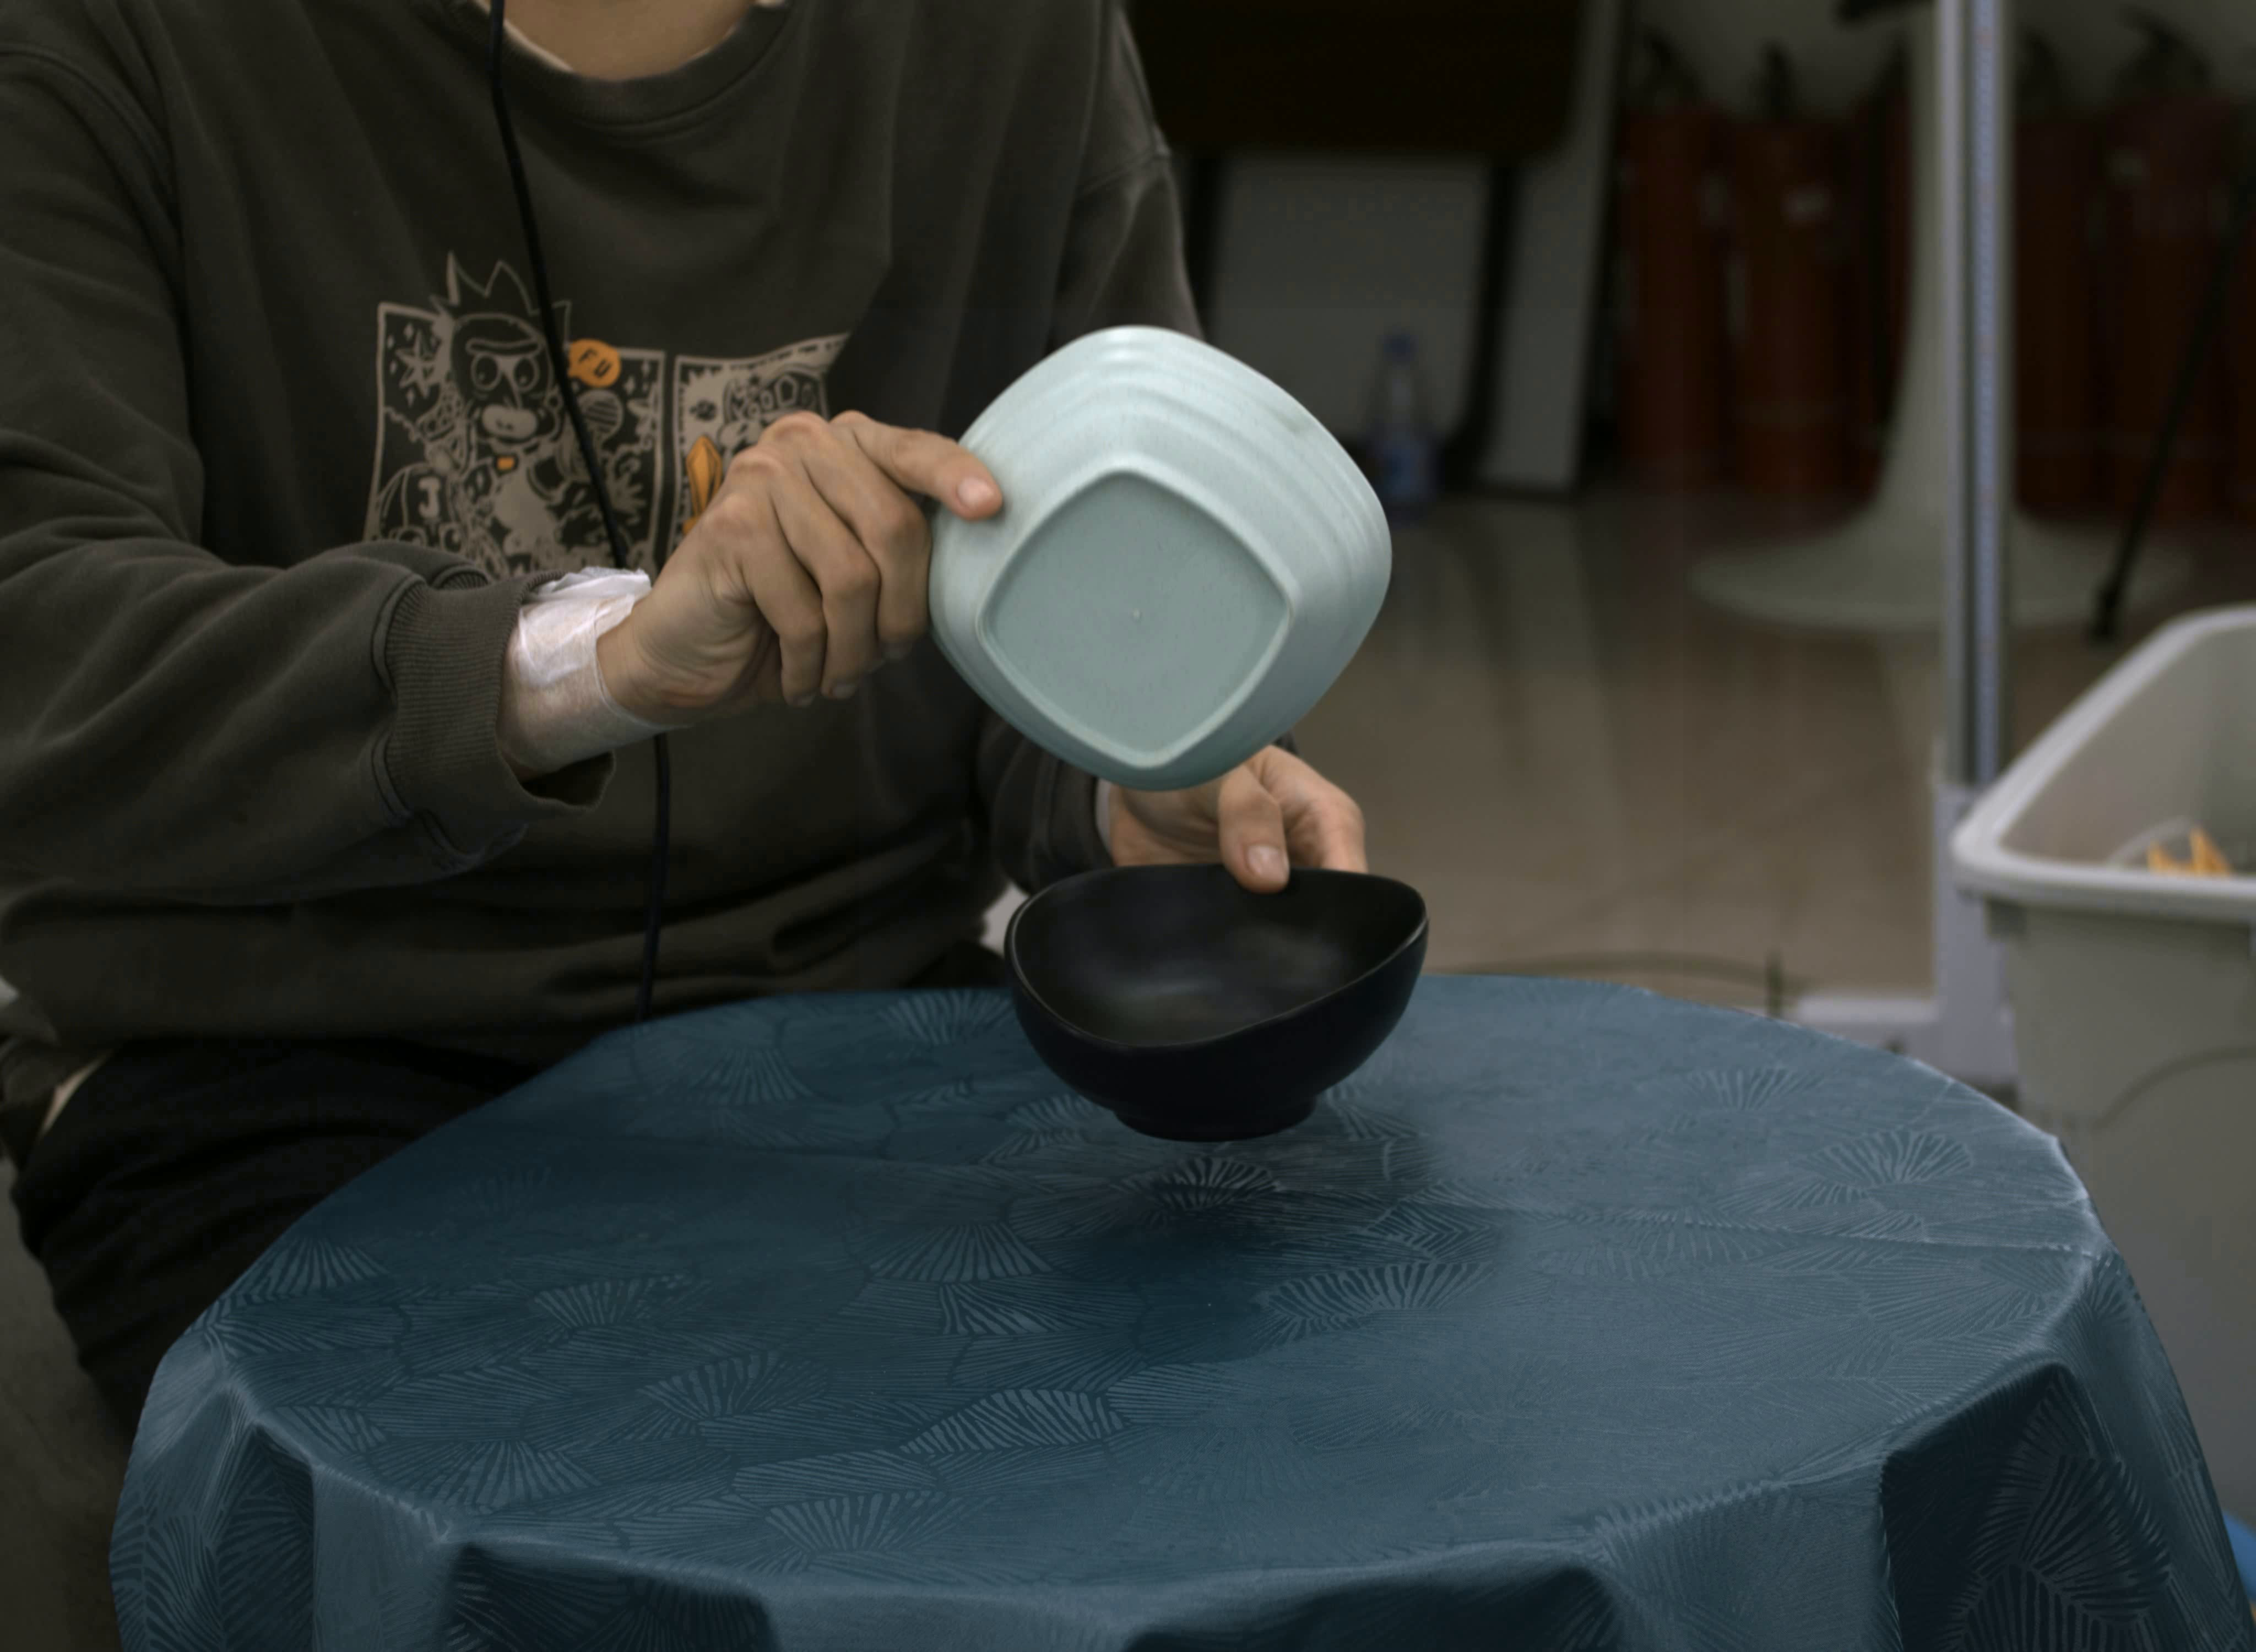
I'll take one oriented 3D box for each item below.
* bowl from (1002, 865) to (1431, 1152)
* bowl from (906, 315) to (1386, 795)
[{"bbox_3d":[0.029,0.063,1.740,0.137,0.067,0.169,2,17,17],"label":"bowl"},{"bbox_3d":[0.002,-0.073,1.635,0.150,0.153,0.058,-1,20,9],"label":"bowl"}]
